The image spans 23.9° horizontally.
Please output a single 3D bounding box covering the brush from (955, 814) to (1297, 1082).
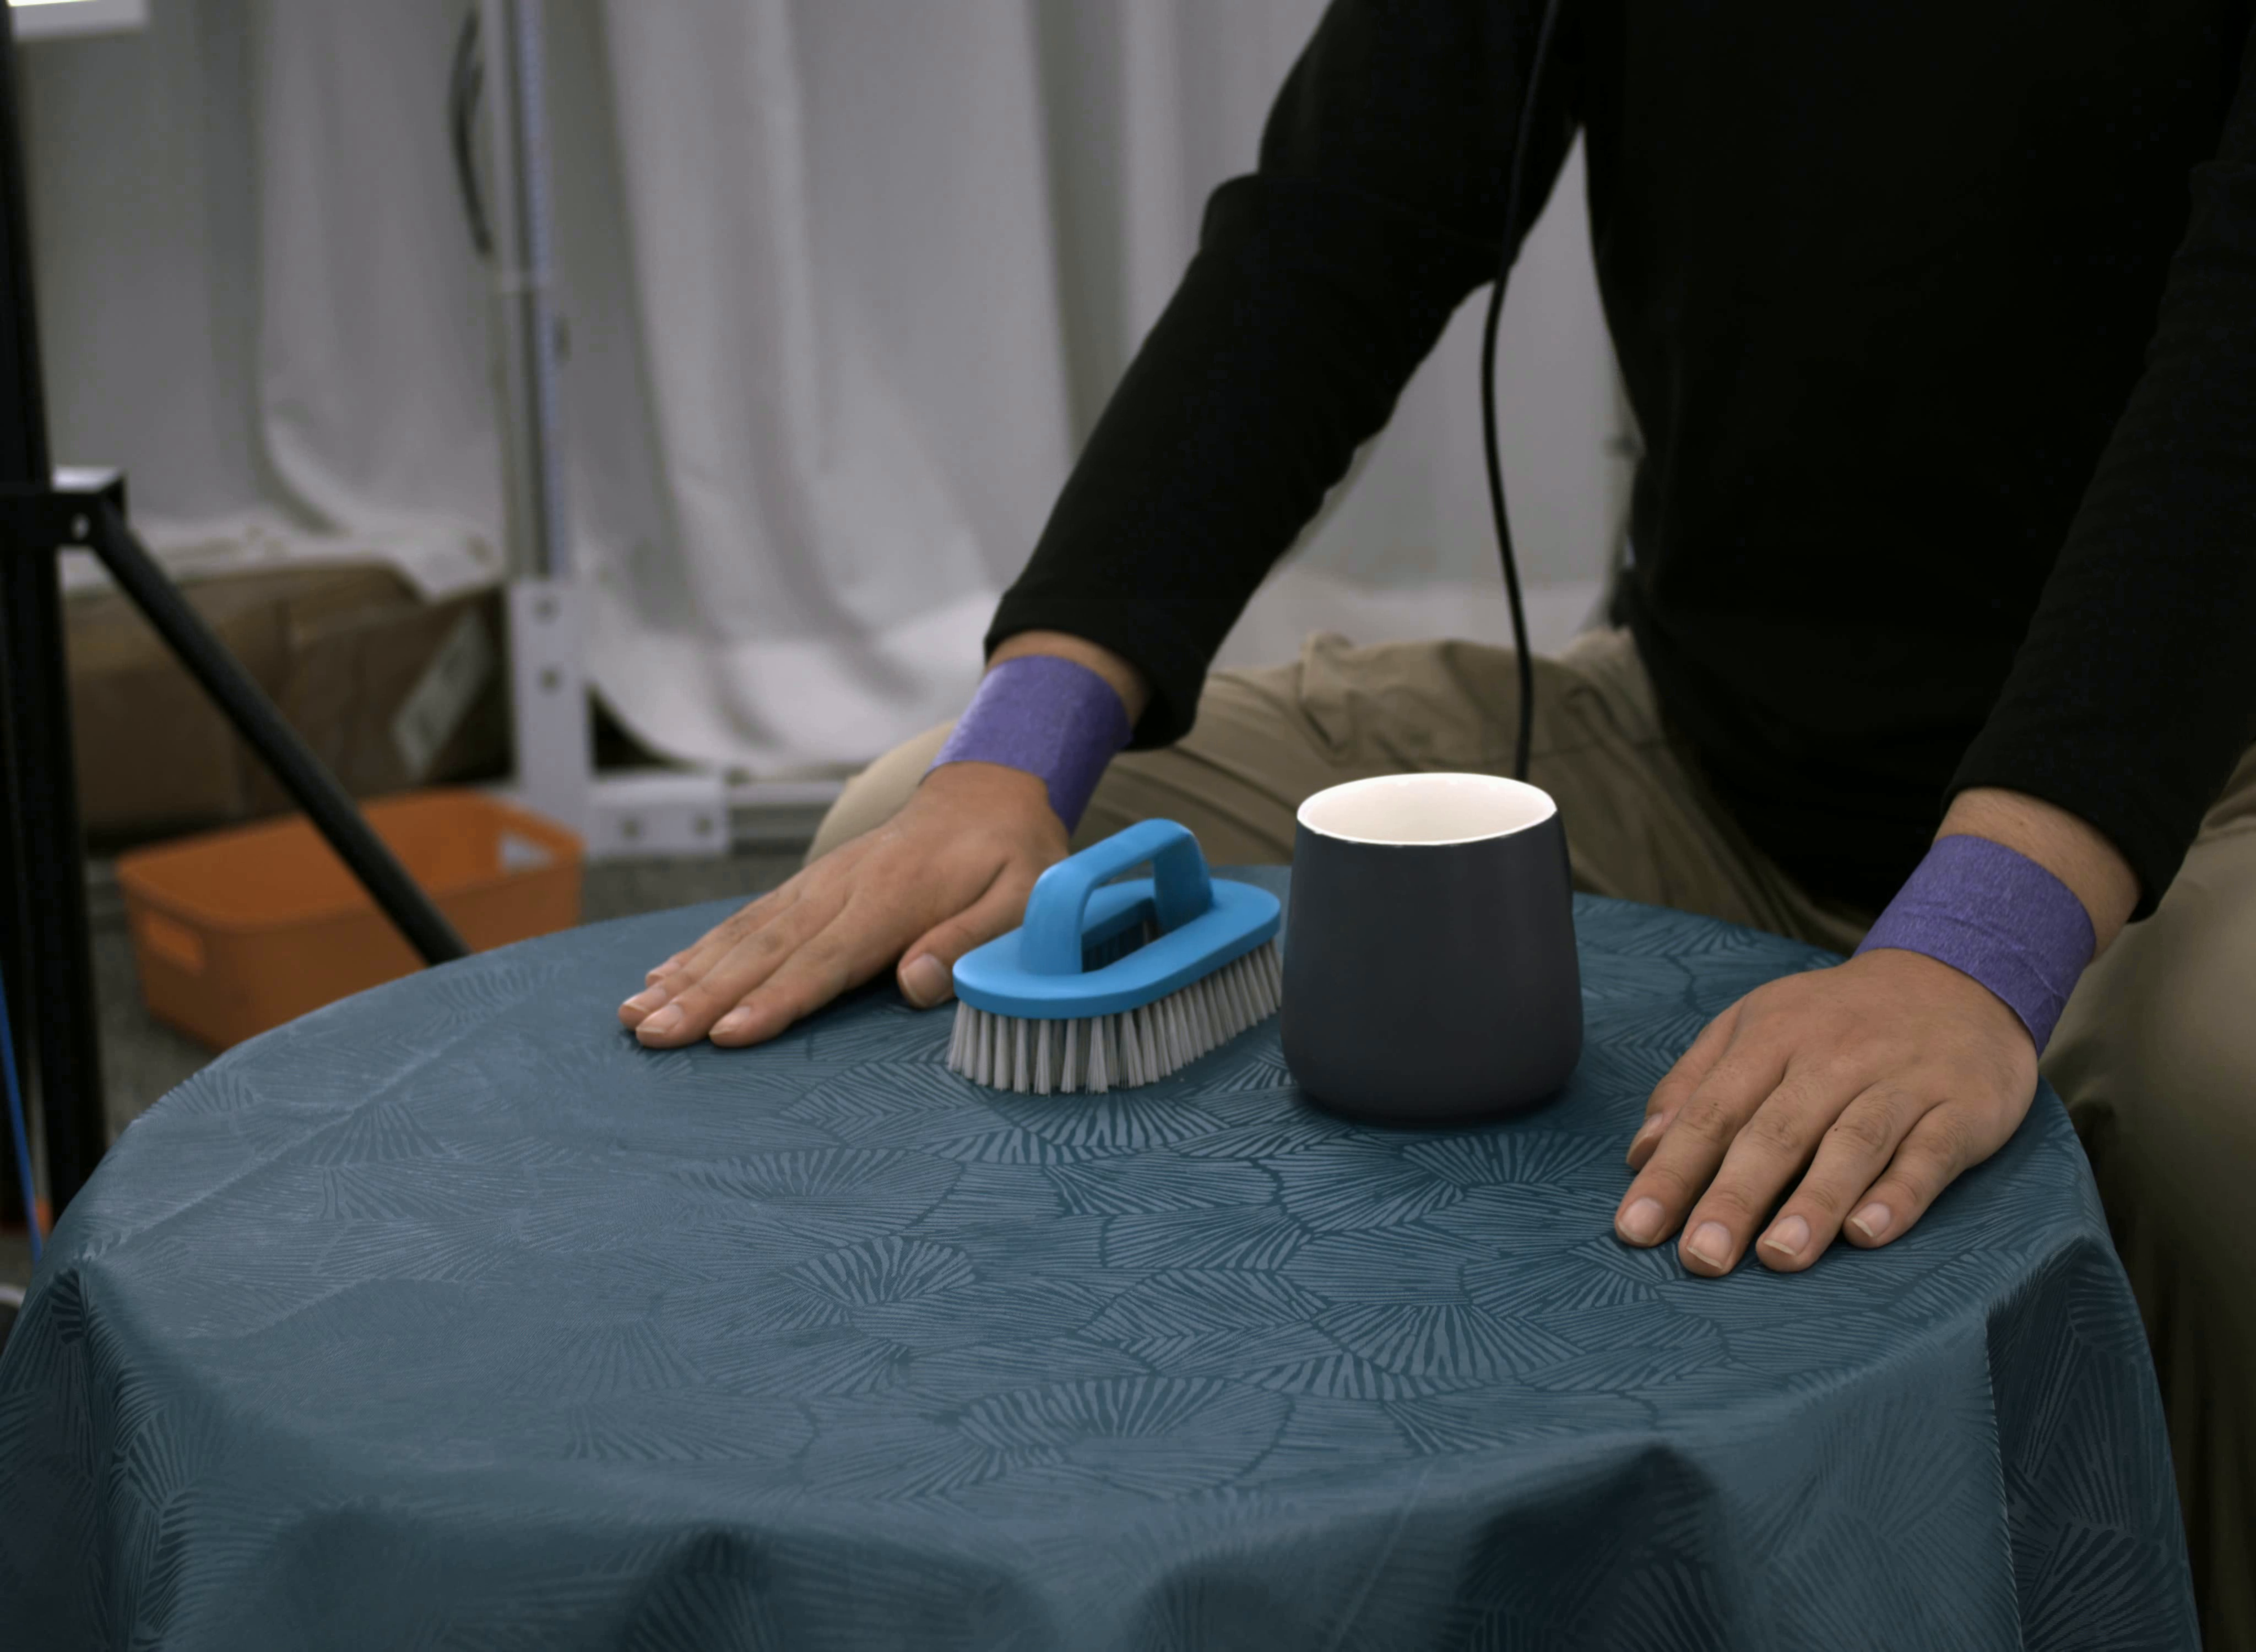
[{"bbox_3d":[0.000,0.034,1.701,0.086,0.064,0.139,2,15,33],"label":"brush"}]

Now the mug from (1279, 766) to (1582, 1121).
[{"bbox_3d":[0.101,0.032,1.637,0.095,0.090,0.121,11,22,37],"label":"mug"}]
